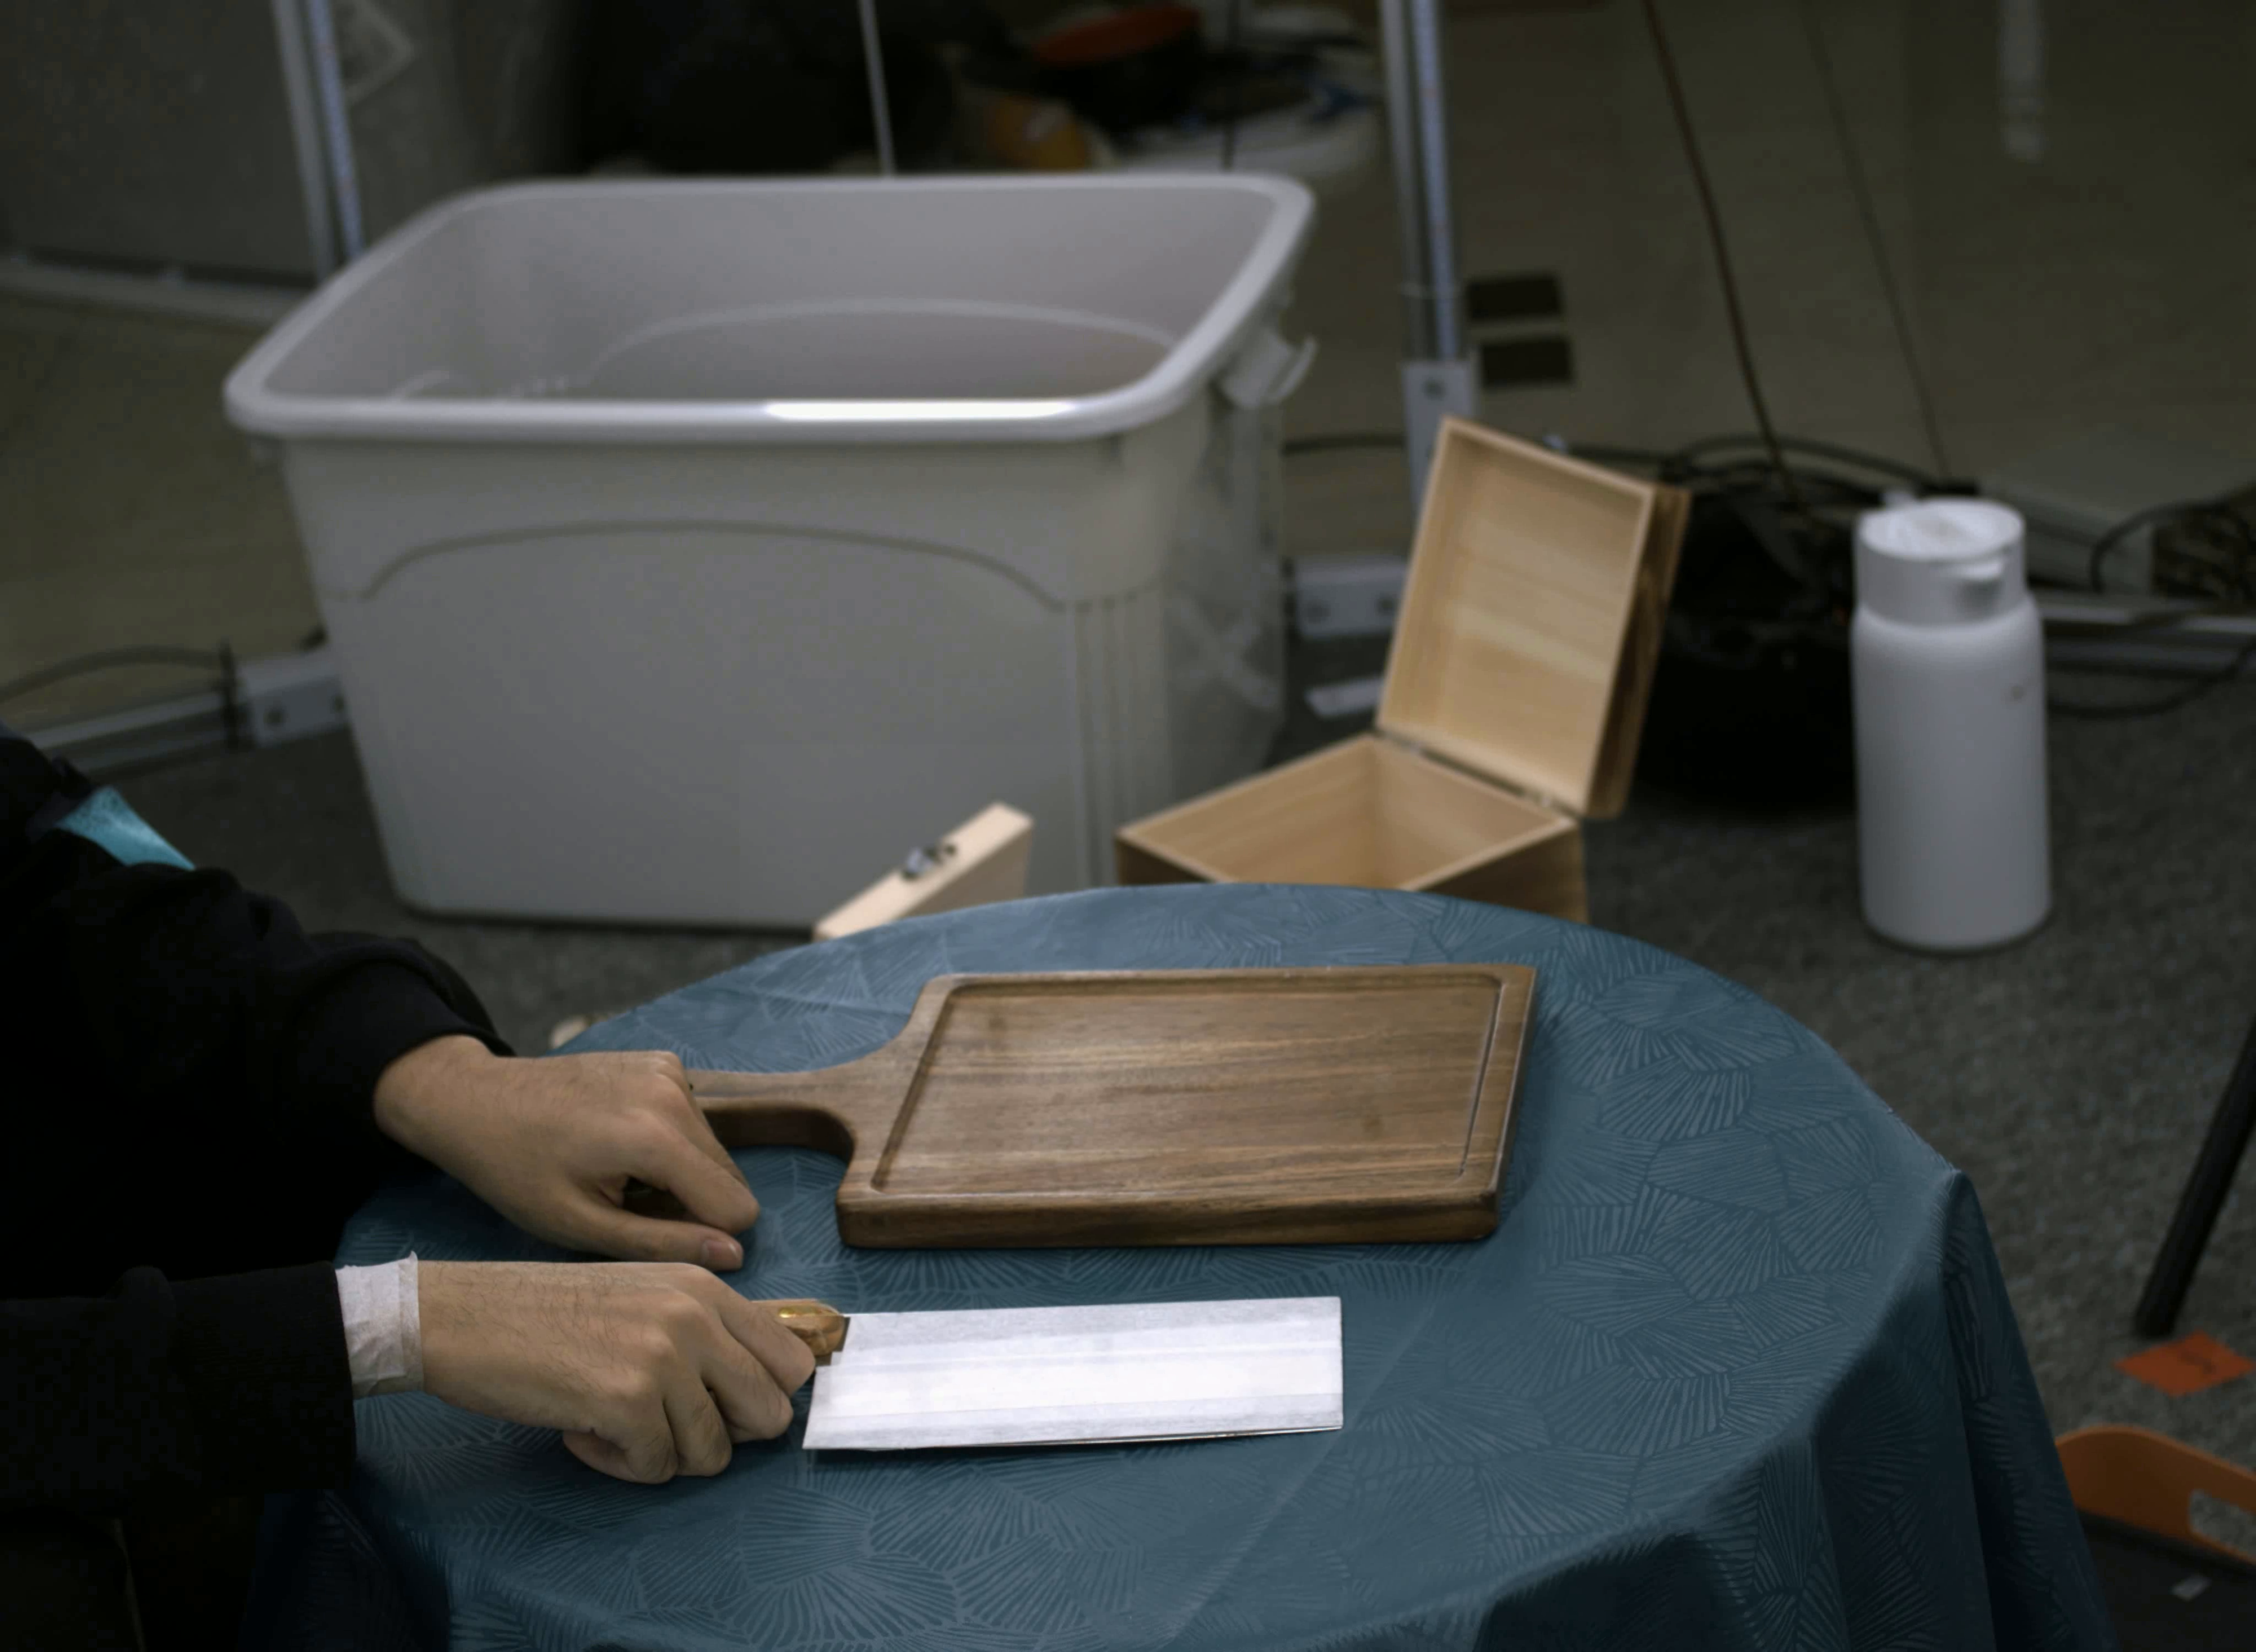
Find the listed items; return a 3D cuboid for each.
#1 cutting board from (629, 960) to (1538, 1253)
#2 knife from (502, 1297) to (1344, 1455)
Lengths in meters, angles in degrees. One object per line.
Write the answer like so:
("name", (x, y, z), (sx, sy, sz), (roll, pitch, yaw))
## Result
("cutting board", (-0.021, 0.108, 2.194), (0.351, 0.023, 0.198), (-2, 25, 10))
("knife", (-0.075, 0.196, 2.025), (0.305, 0.021, 0.091), (-2, 27, 3))
